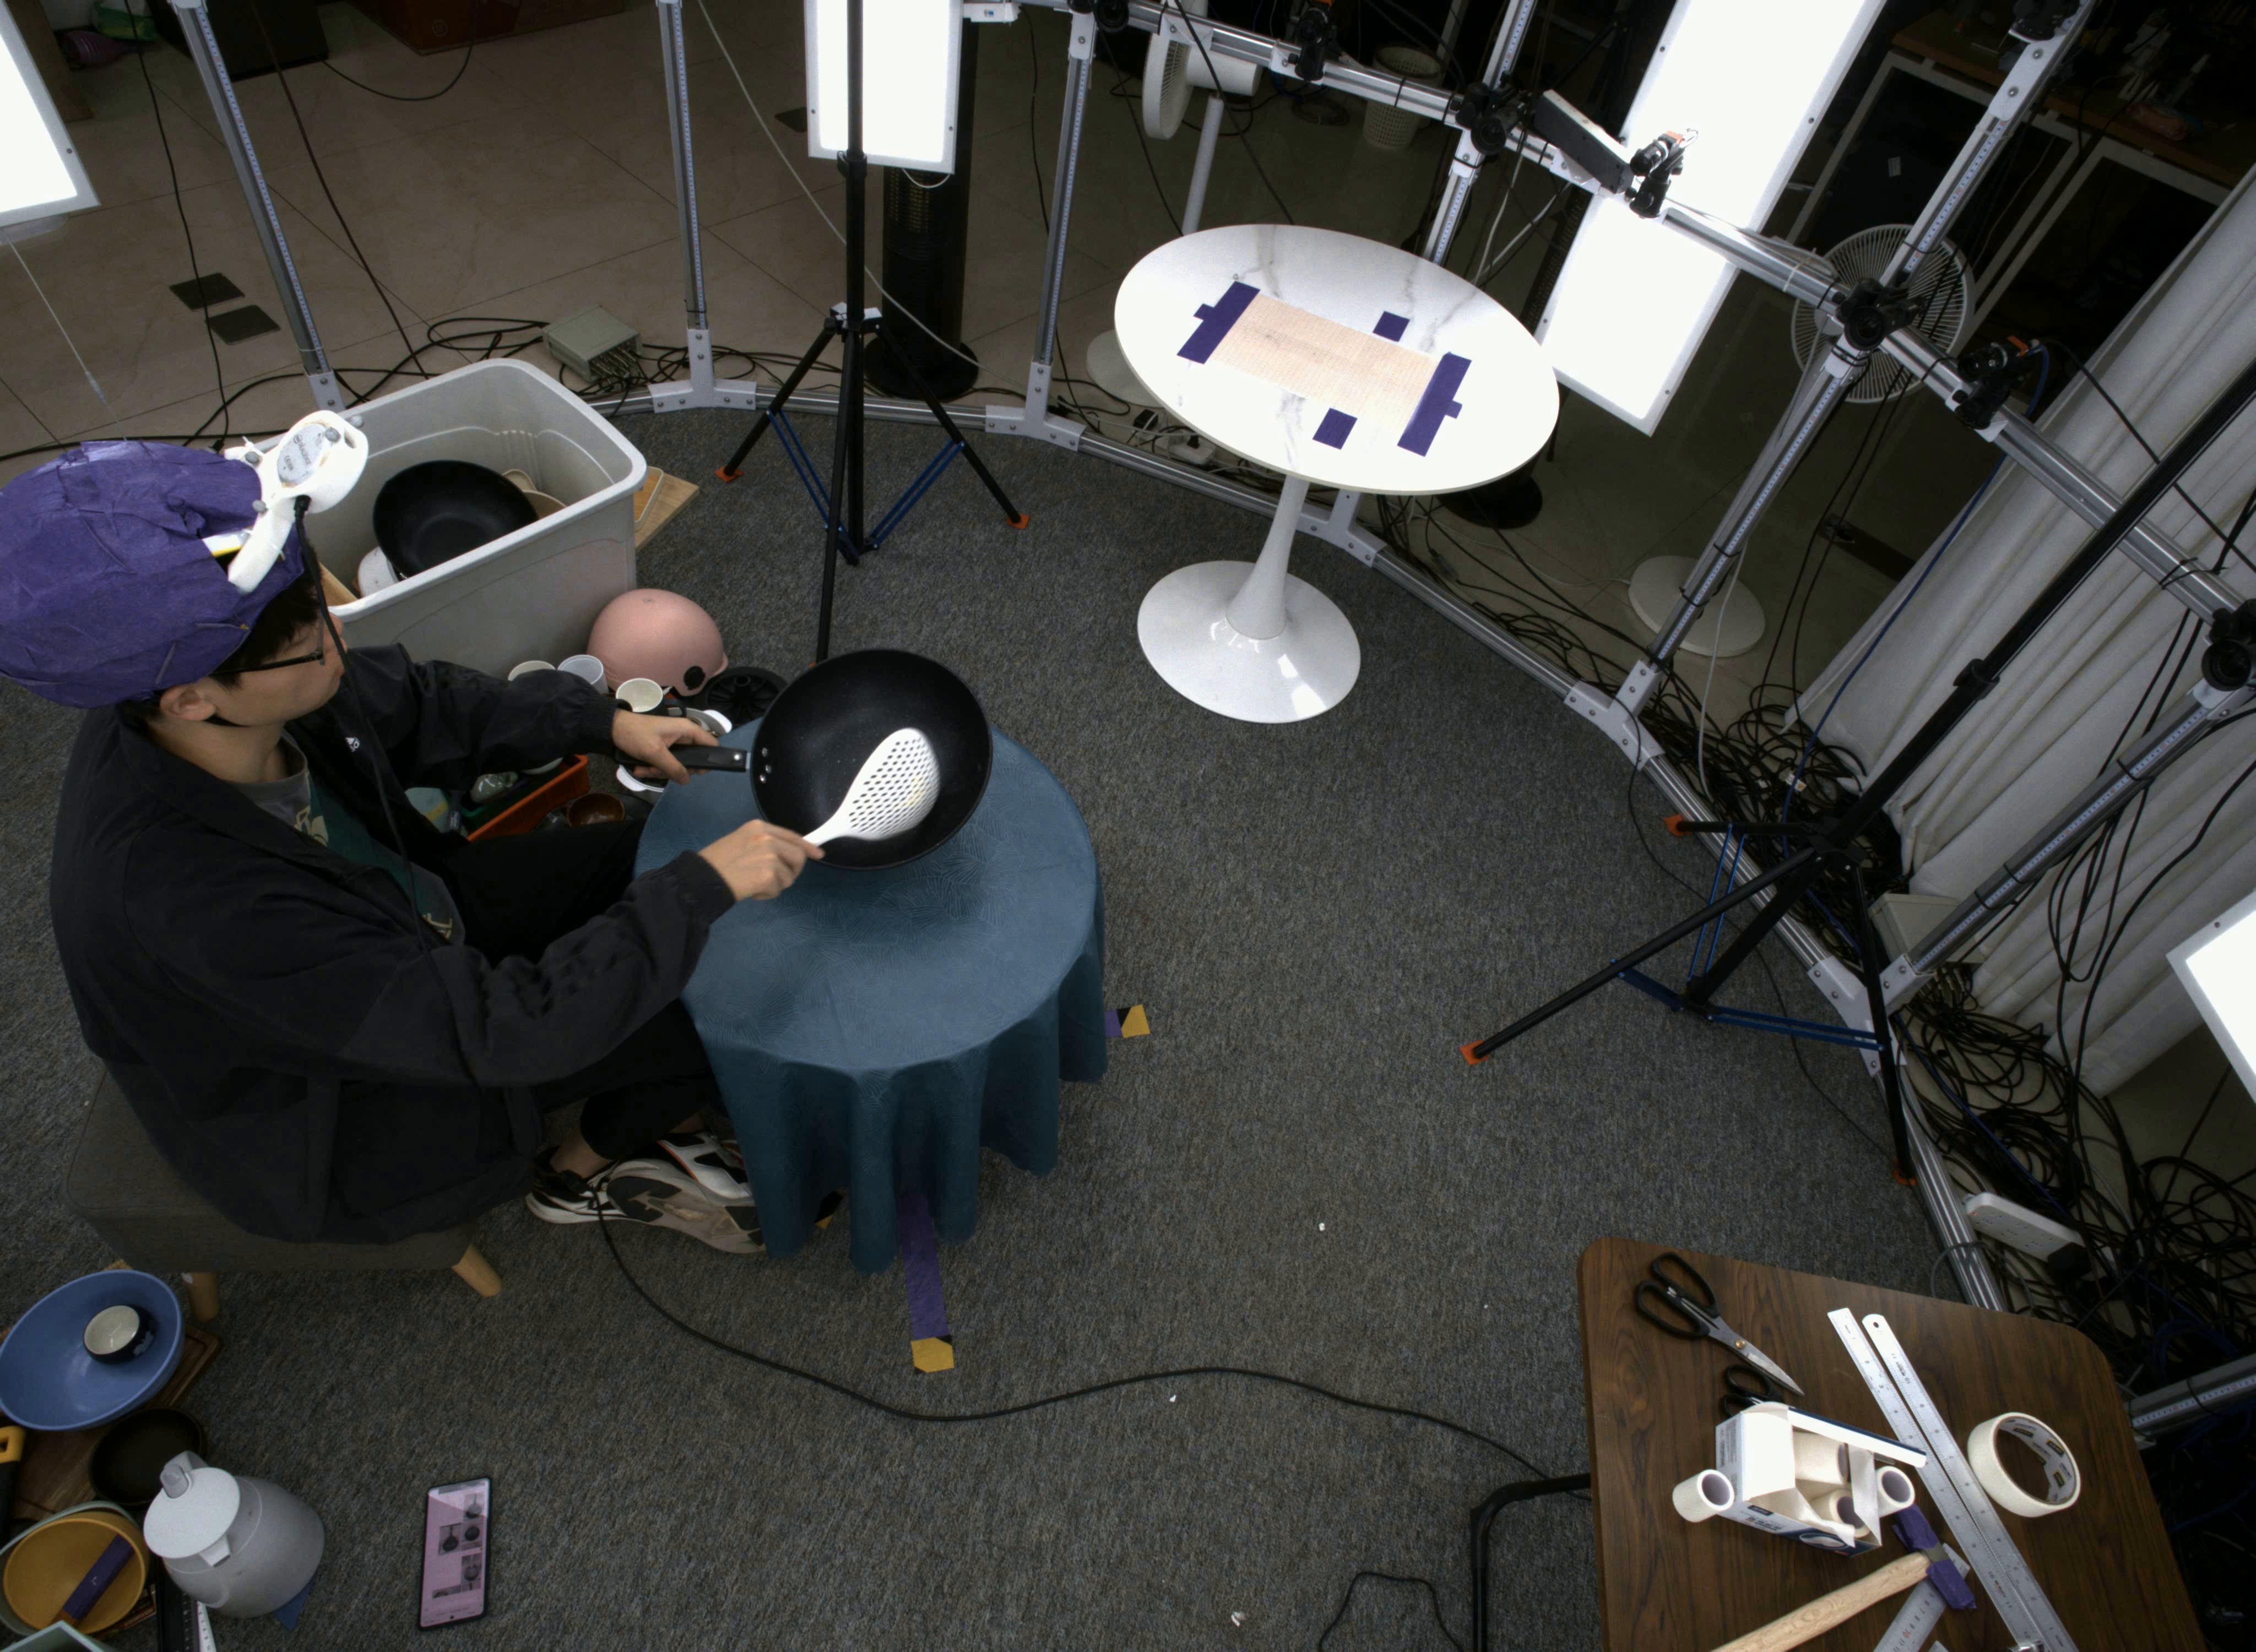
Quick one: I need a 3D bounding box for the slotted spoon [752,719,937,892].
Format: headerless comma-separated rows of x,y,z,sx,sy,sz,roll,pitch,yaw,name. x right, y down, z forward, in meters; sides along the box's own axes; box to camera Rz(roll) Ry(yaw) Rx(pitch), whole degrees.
-0.334,-0.010,1.561,0.048,0.141,0.348,14,36,31,slotted spoon

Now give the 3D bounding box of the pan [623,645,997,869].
-0.400,-0.078,1.662,0.472,0.114,0.307,-2,69,-2,pan
